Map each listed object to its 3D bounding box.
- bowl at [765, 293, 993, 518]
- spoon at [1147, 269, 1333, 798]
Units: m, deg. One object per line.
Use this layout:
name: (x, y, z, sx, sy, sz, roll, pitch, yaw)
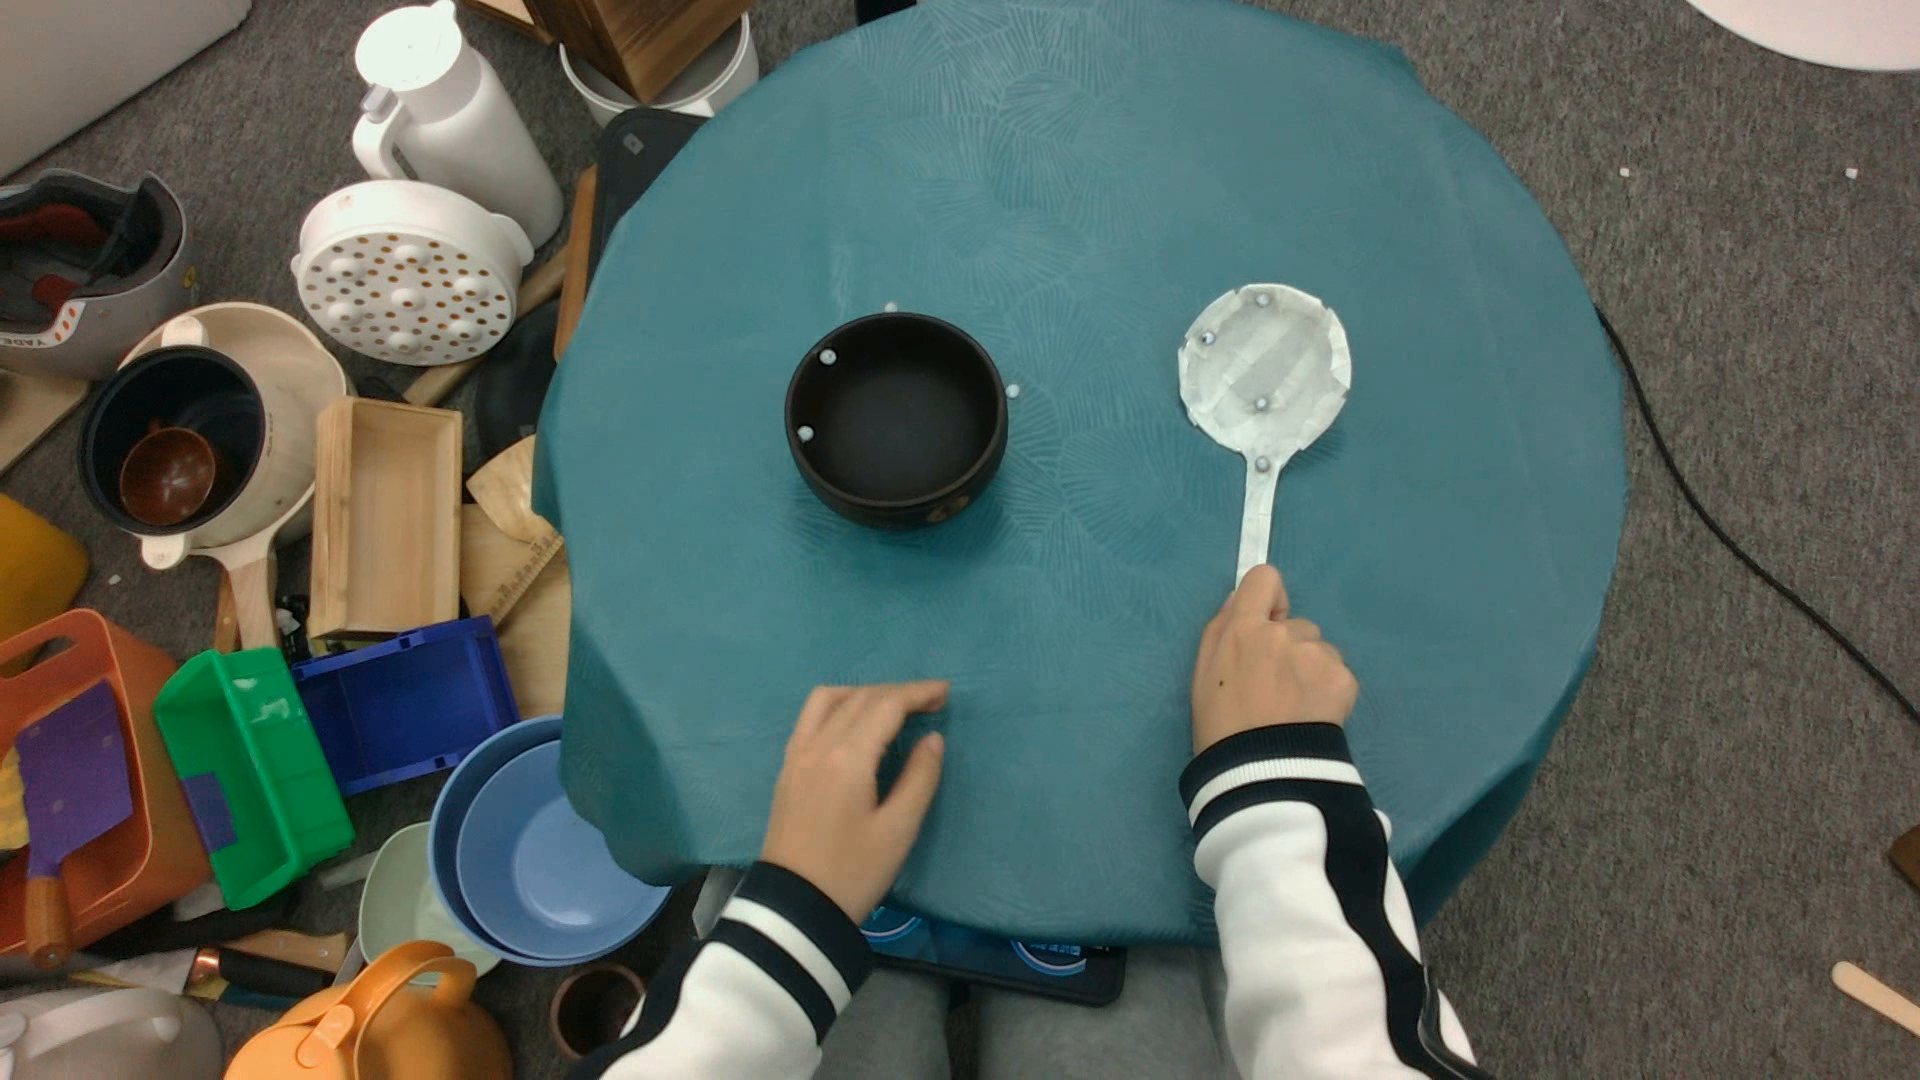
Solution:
bowl: (-0.041, -0.065, 0.735, 0.118, 0.069, 0.118, -1, 69, 2)
spoon: (0.131, -0.008, 0.719, 0.100, 0.059, 0.278, 3, 69, 28)
